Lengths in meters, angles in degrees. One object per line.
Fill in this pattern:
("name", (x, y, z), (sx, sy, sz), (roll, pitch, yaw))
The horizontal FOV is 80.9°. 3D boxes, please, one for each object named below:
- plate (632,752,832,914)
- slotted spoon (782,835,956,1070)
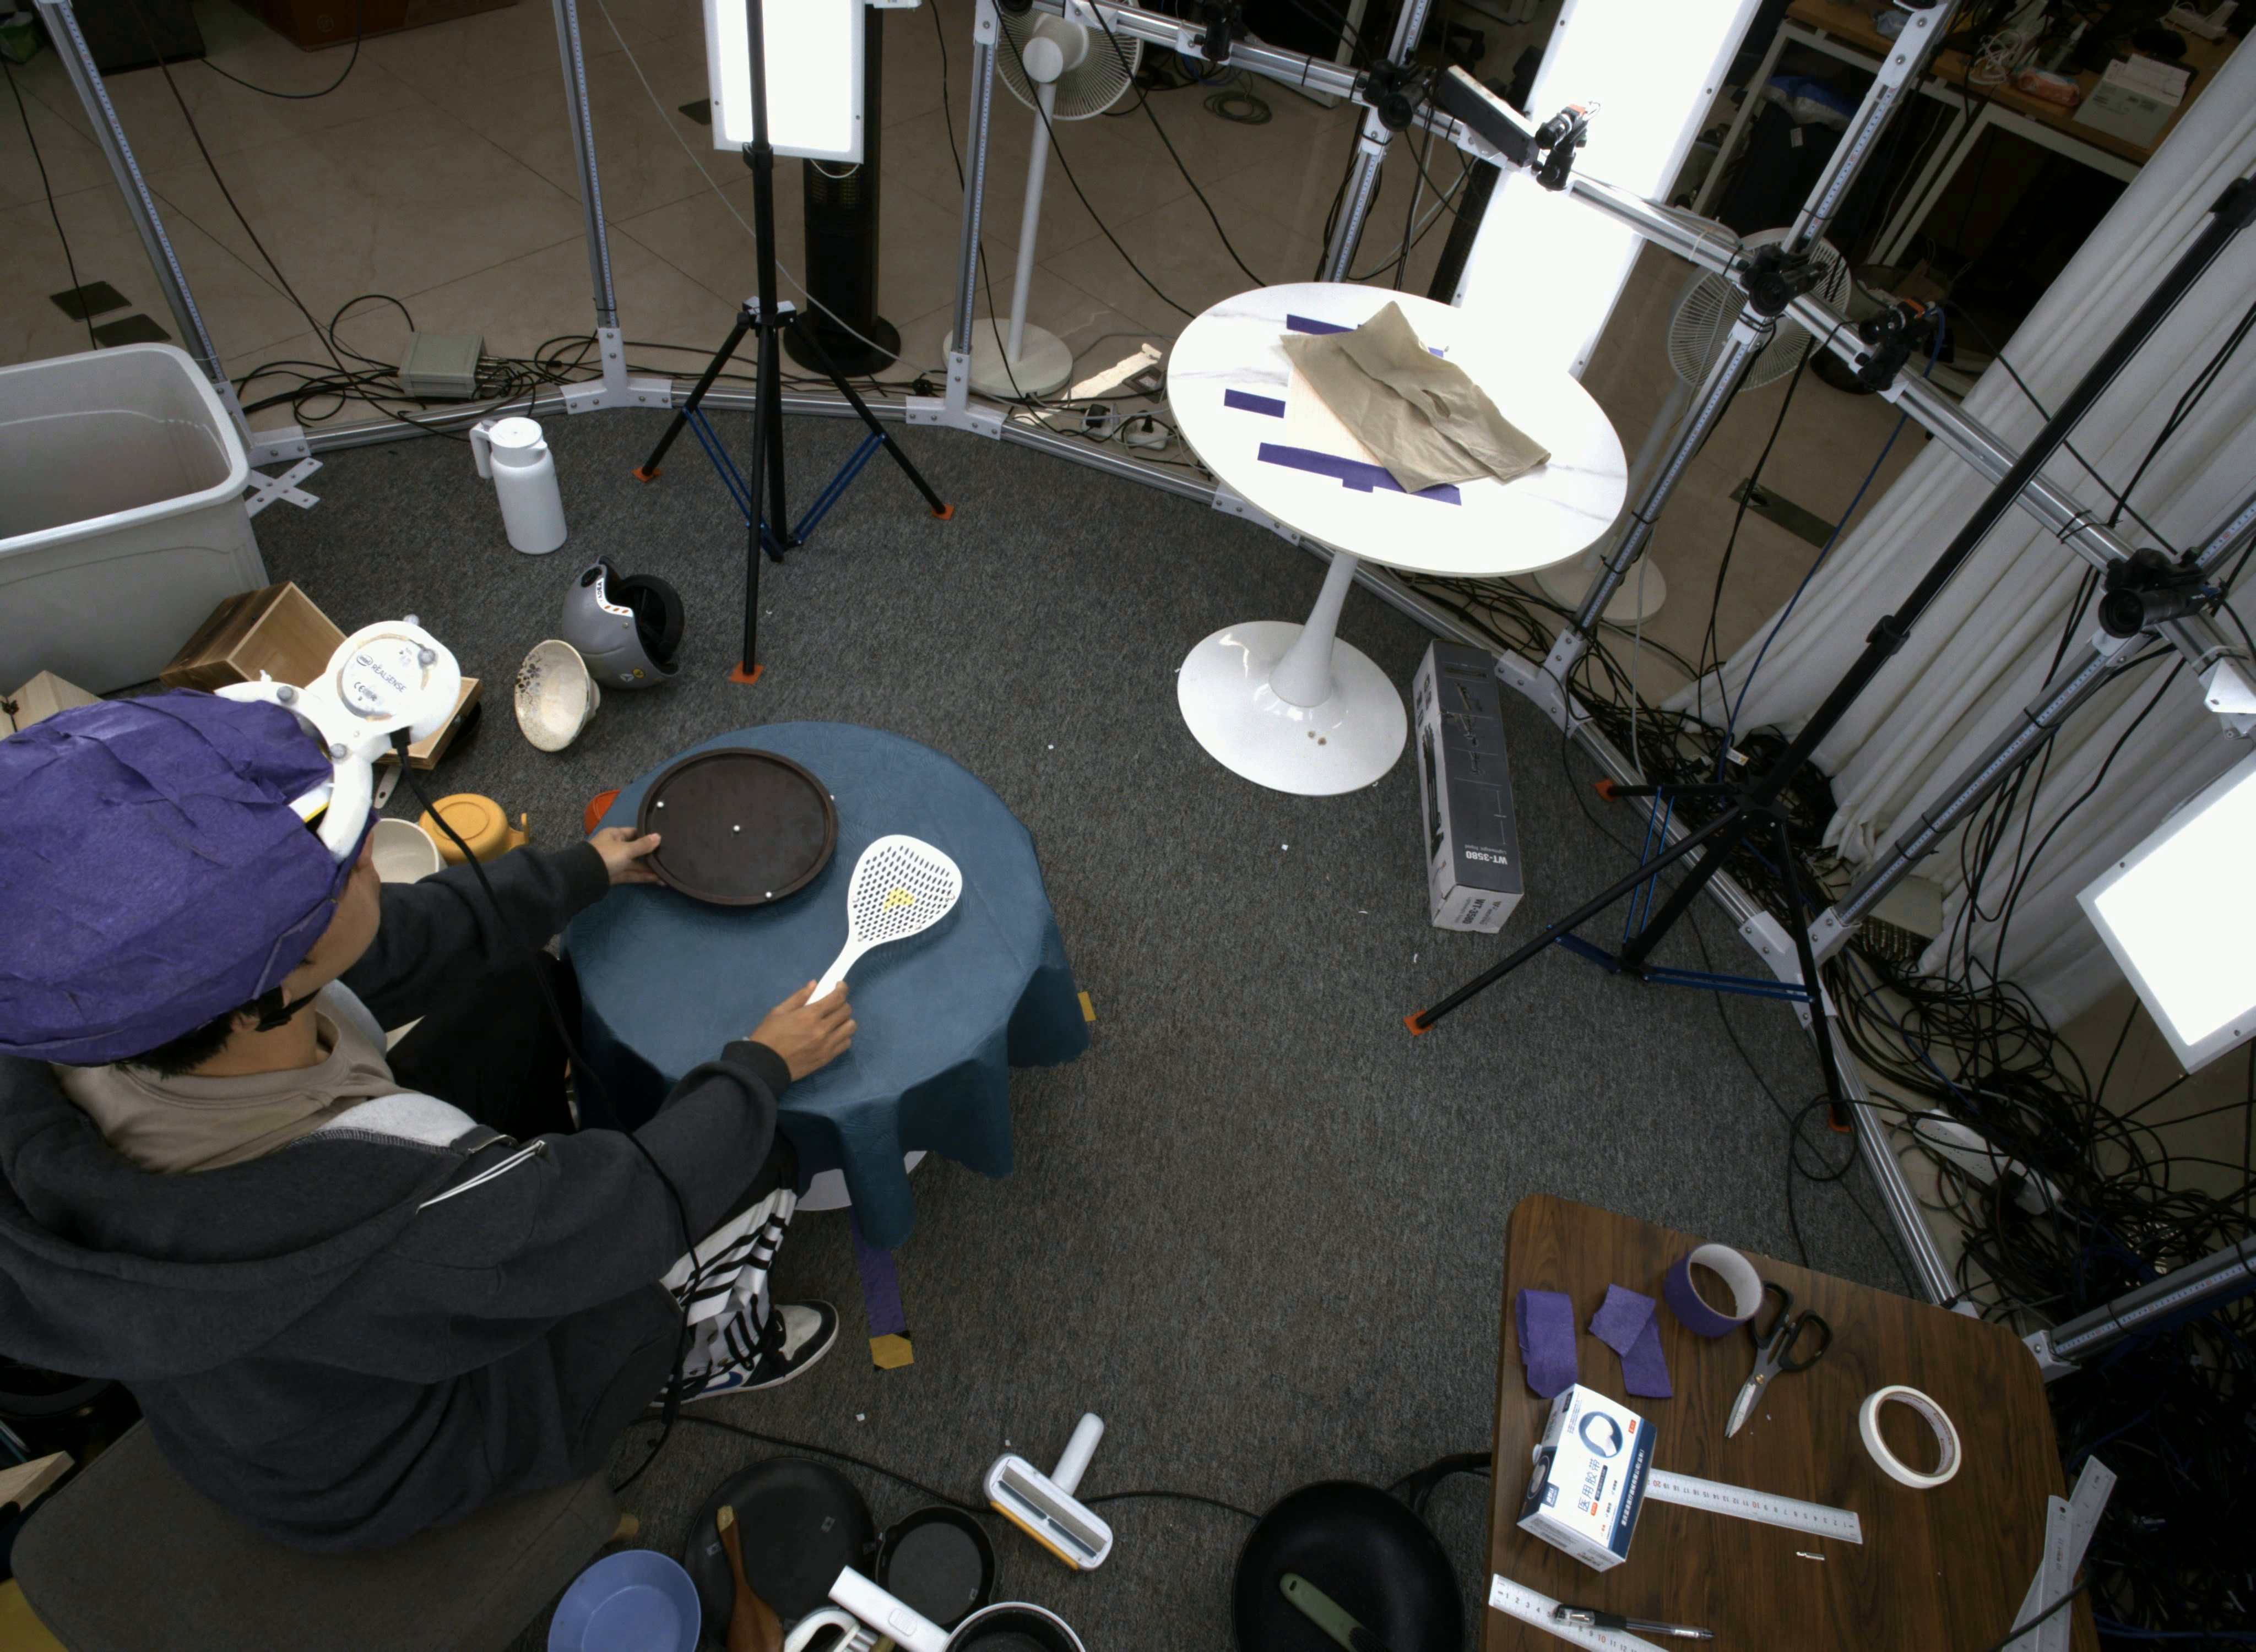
("plate", (-0.510, 0.006, 1.665), (0.255, 0.029, 0.250), (11, 53, -13))
("slotted spoon", (-0.335, 0.149, 1.603), (0.136, 0.051, 0.345), (30, 48, -1))
